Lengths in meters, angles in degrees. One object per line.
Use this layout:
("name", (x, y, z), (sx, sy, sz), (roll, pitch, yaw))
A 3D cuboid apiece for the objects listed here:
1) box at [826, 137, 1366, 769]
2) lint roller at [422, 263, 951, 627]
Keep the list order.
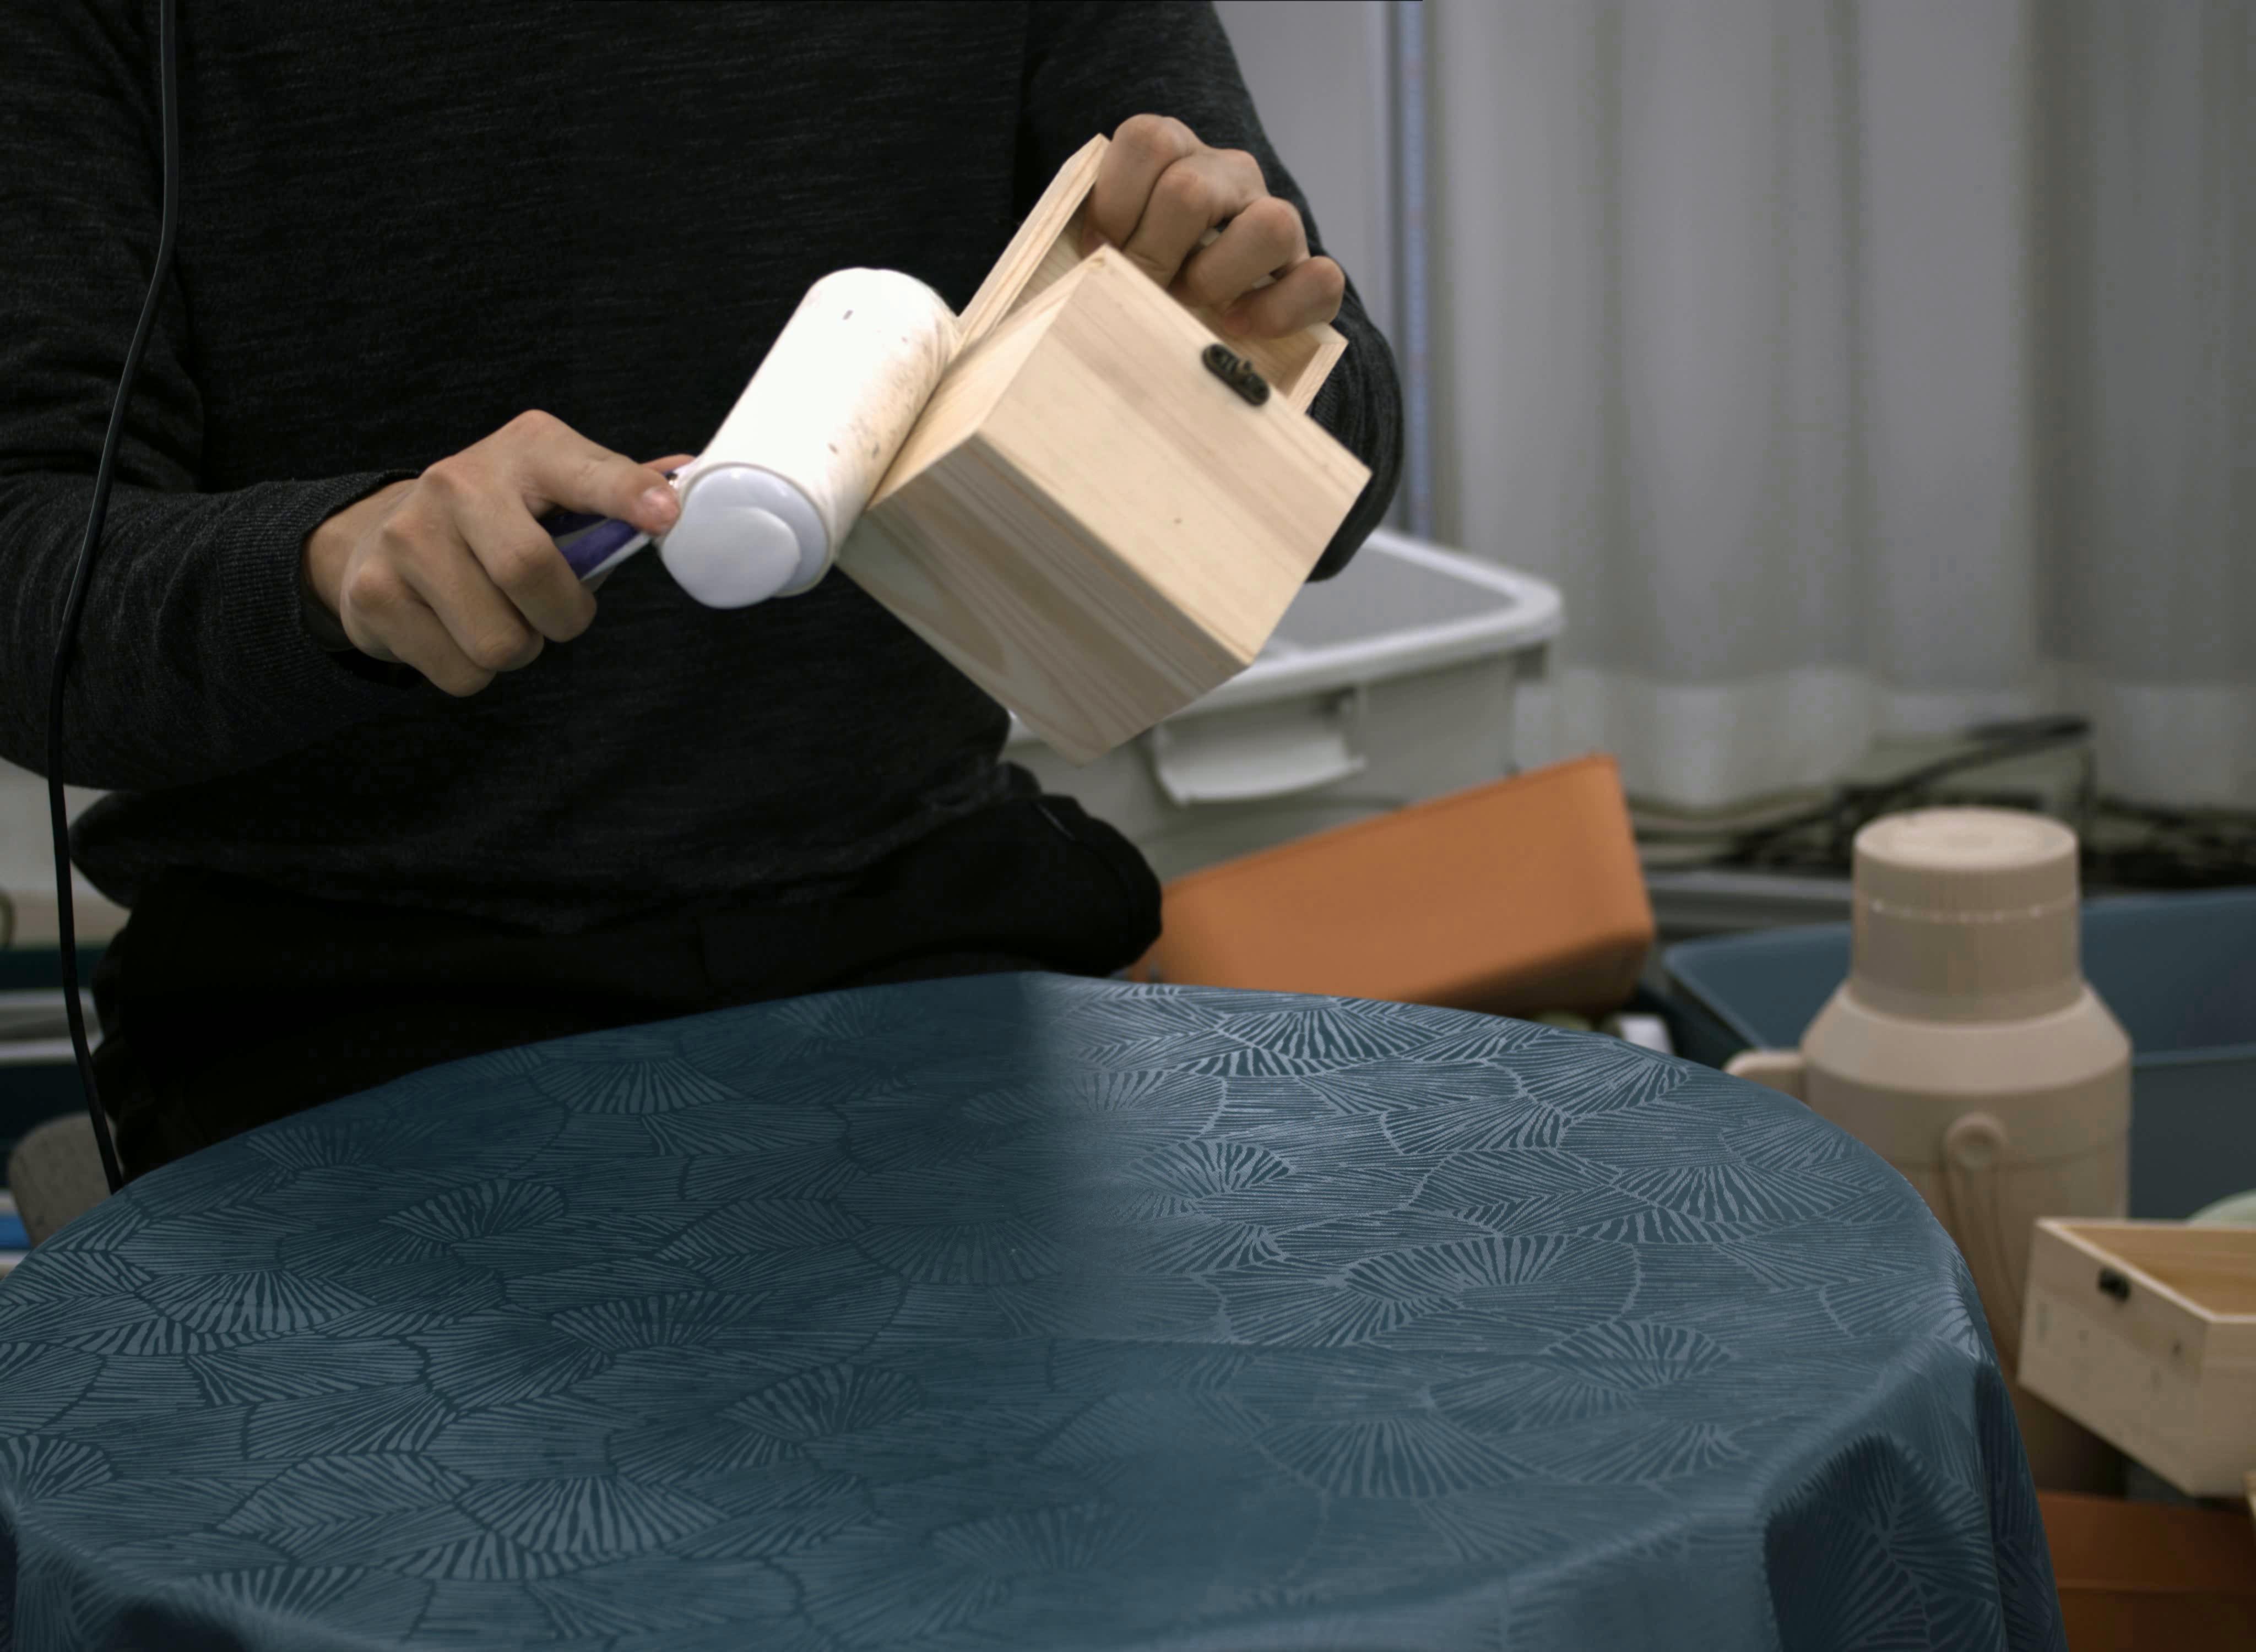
("box", (0.009, -0.125, 1.585), (0.133, 0.102, 0.186), (-31, 21, 56))
("lint roller", (-0.141, -0.100, 1.583), (0.180, 0.049, 0.134), (-13, 32, 32))
